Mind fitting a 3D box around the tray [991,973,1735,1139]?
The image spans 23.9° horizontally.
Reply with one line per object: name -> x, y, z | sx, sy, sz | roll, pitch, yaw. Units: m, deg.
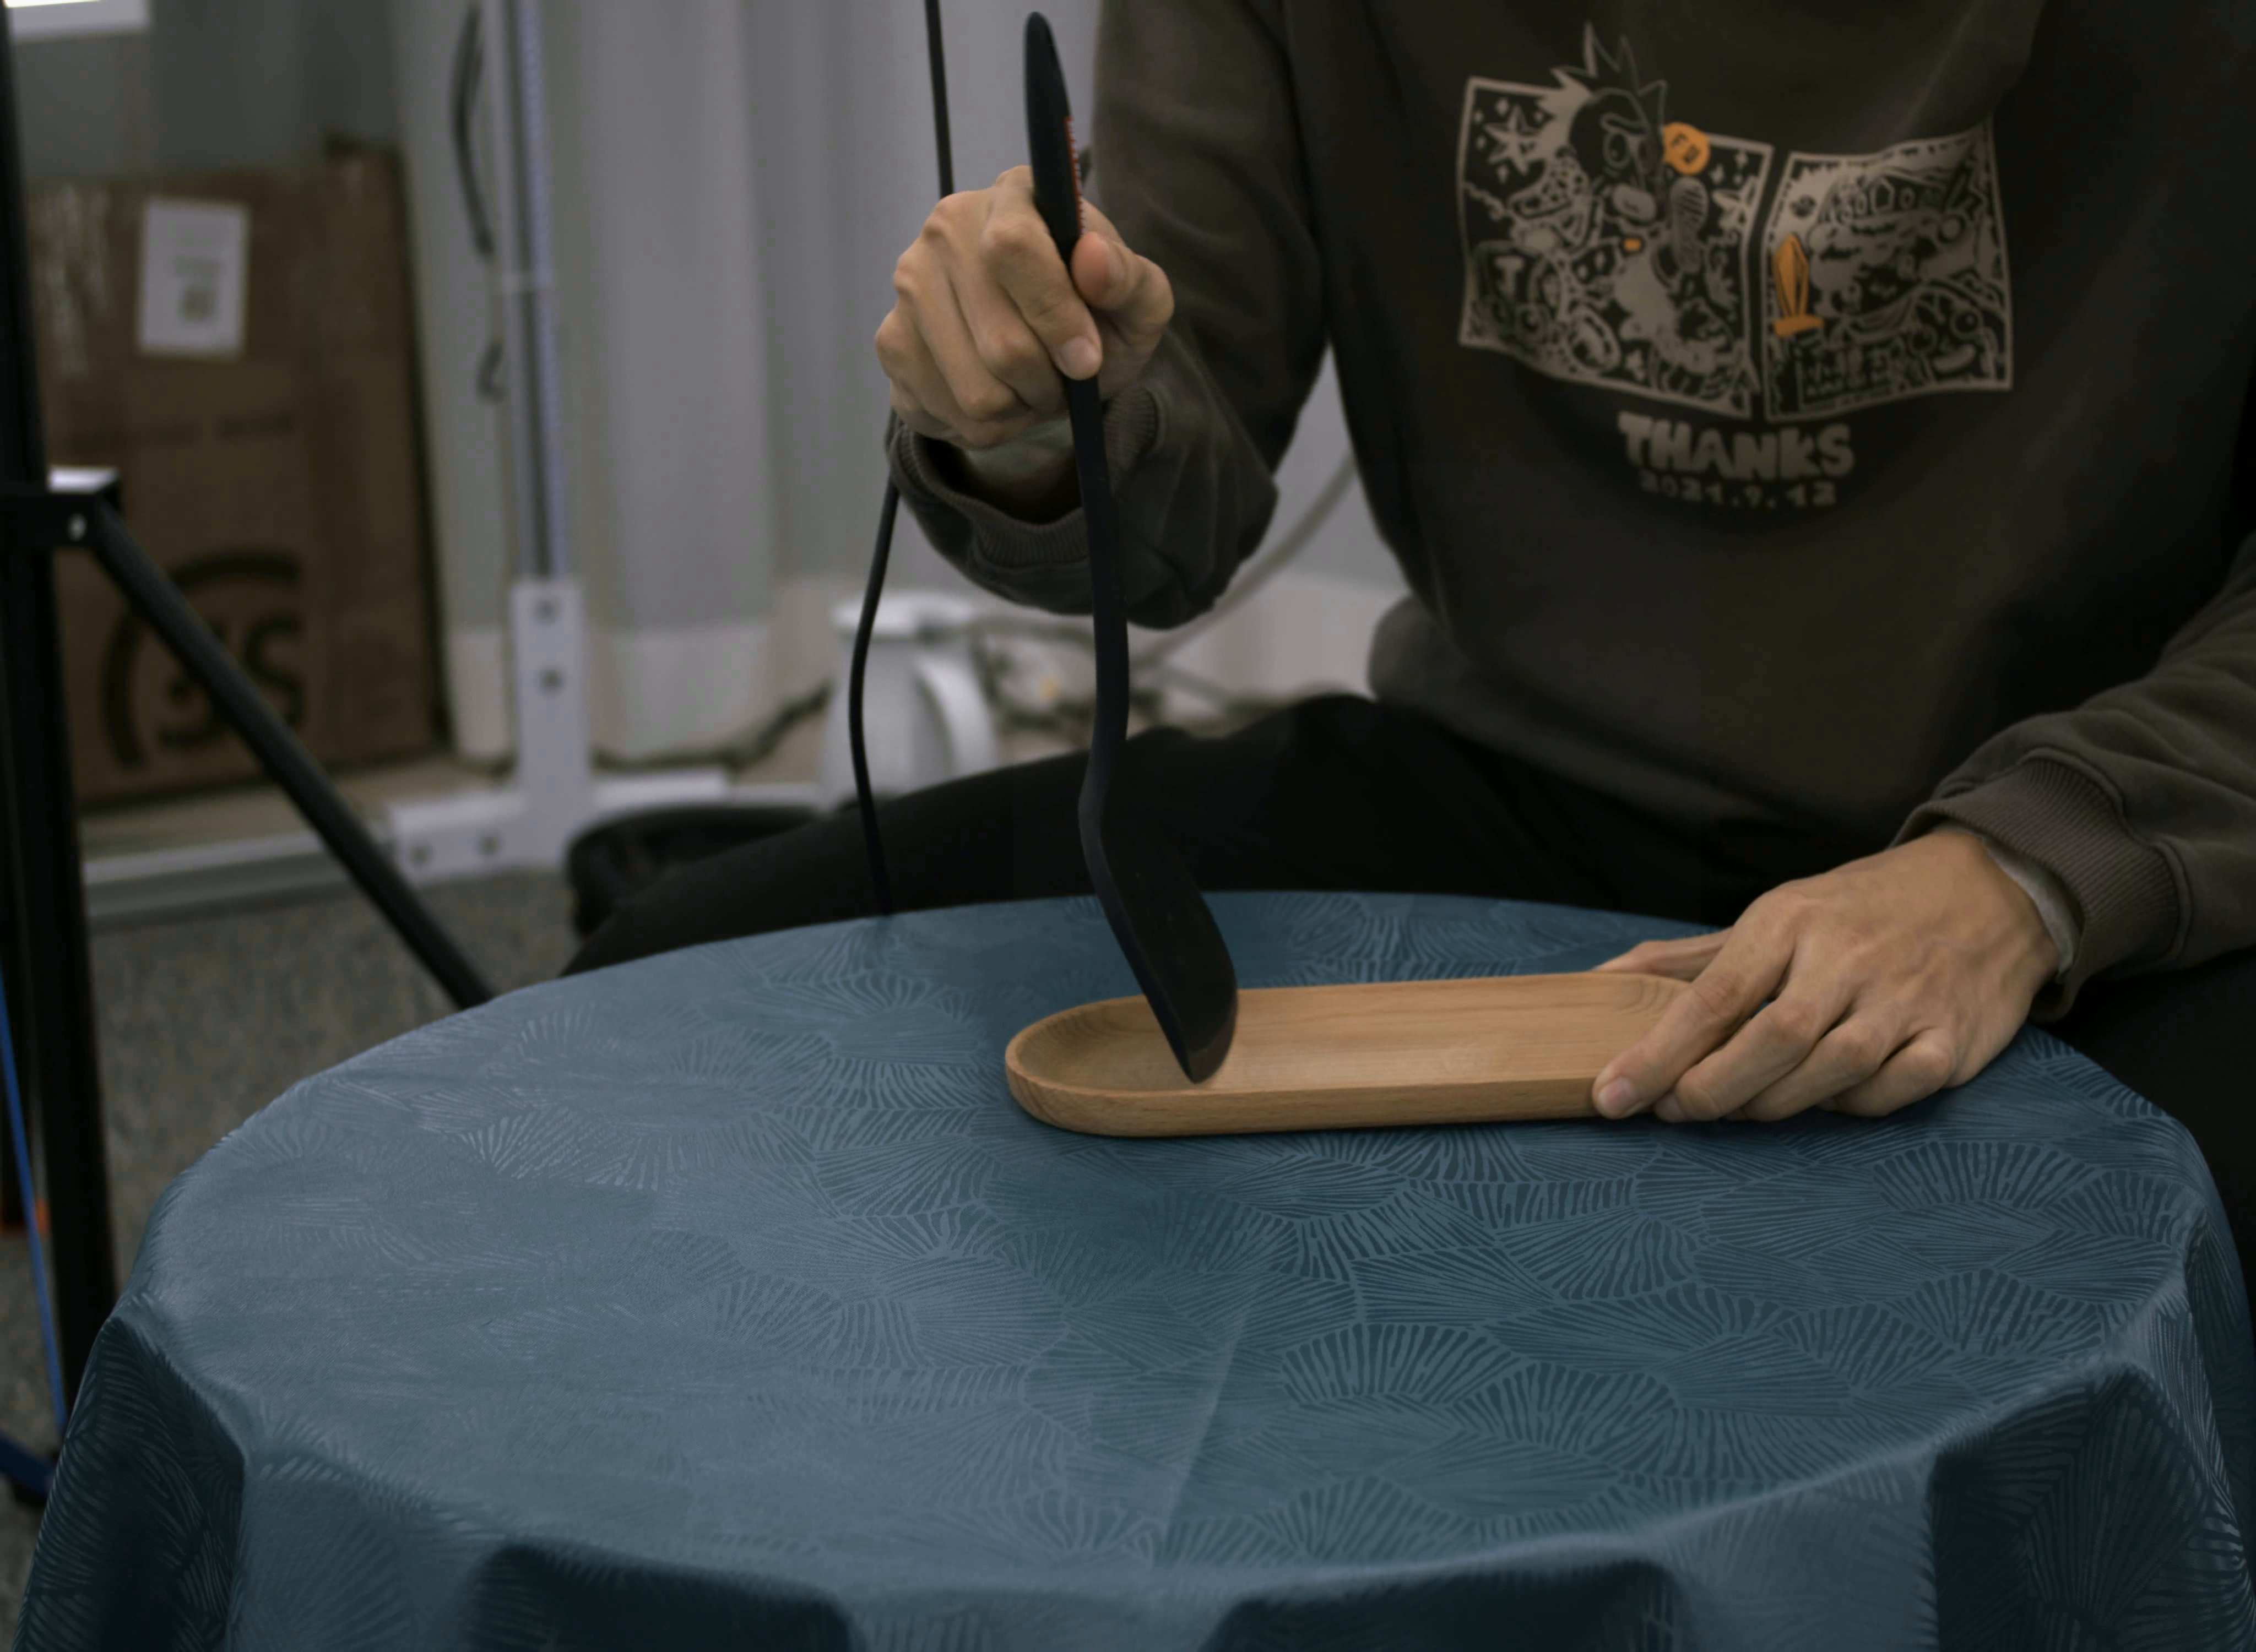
tray -> 0.073, 0.072, 1.646 | 0.230, 0.020, 0.102 | -4, 16, 3

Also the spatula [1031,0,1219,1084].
spatula -> -0.003, -0.086, 1.618 | 0.040, 0.326, 0.099 | -1, 12, 9
